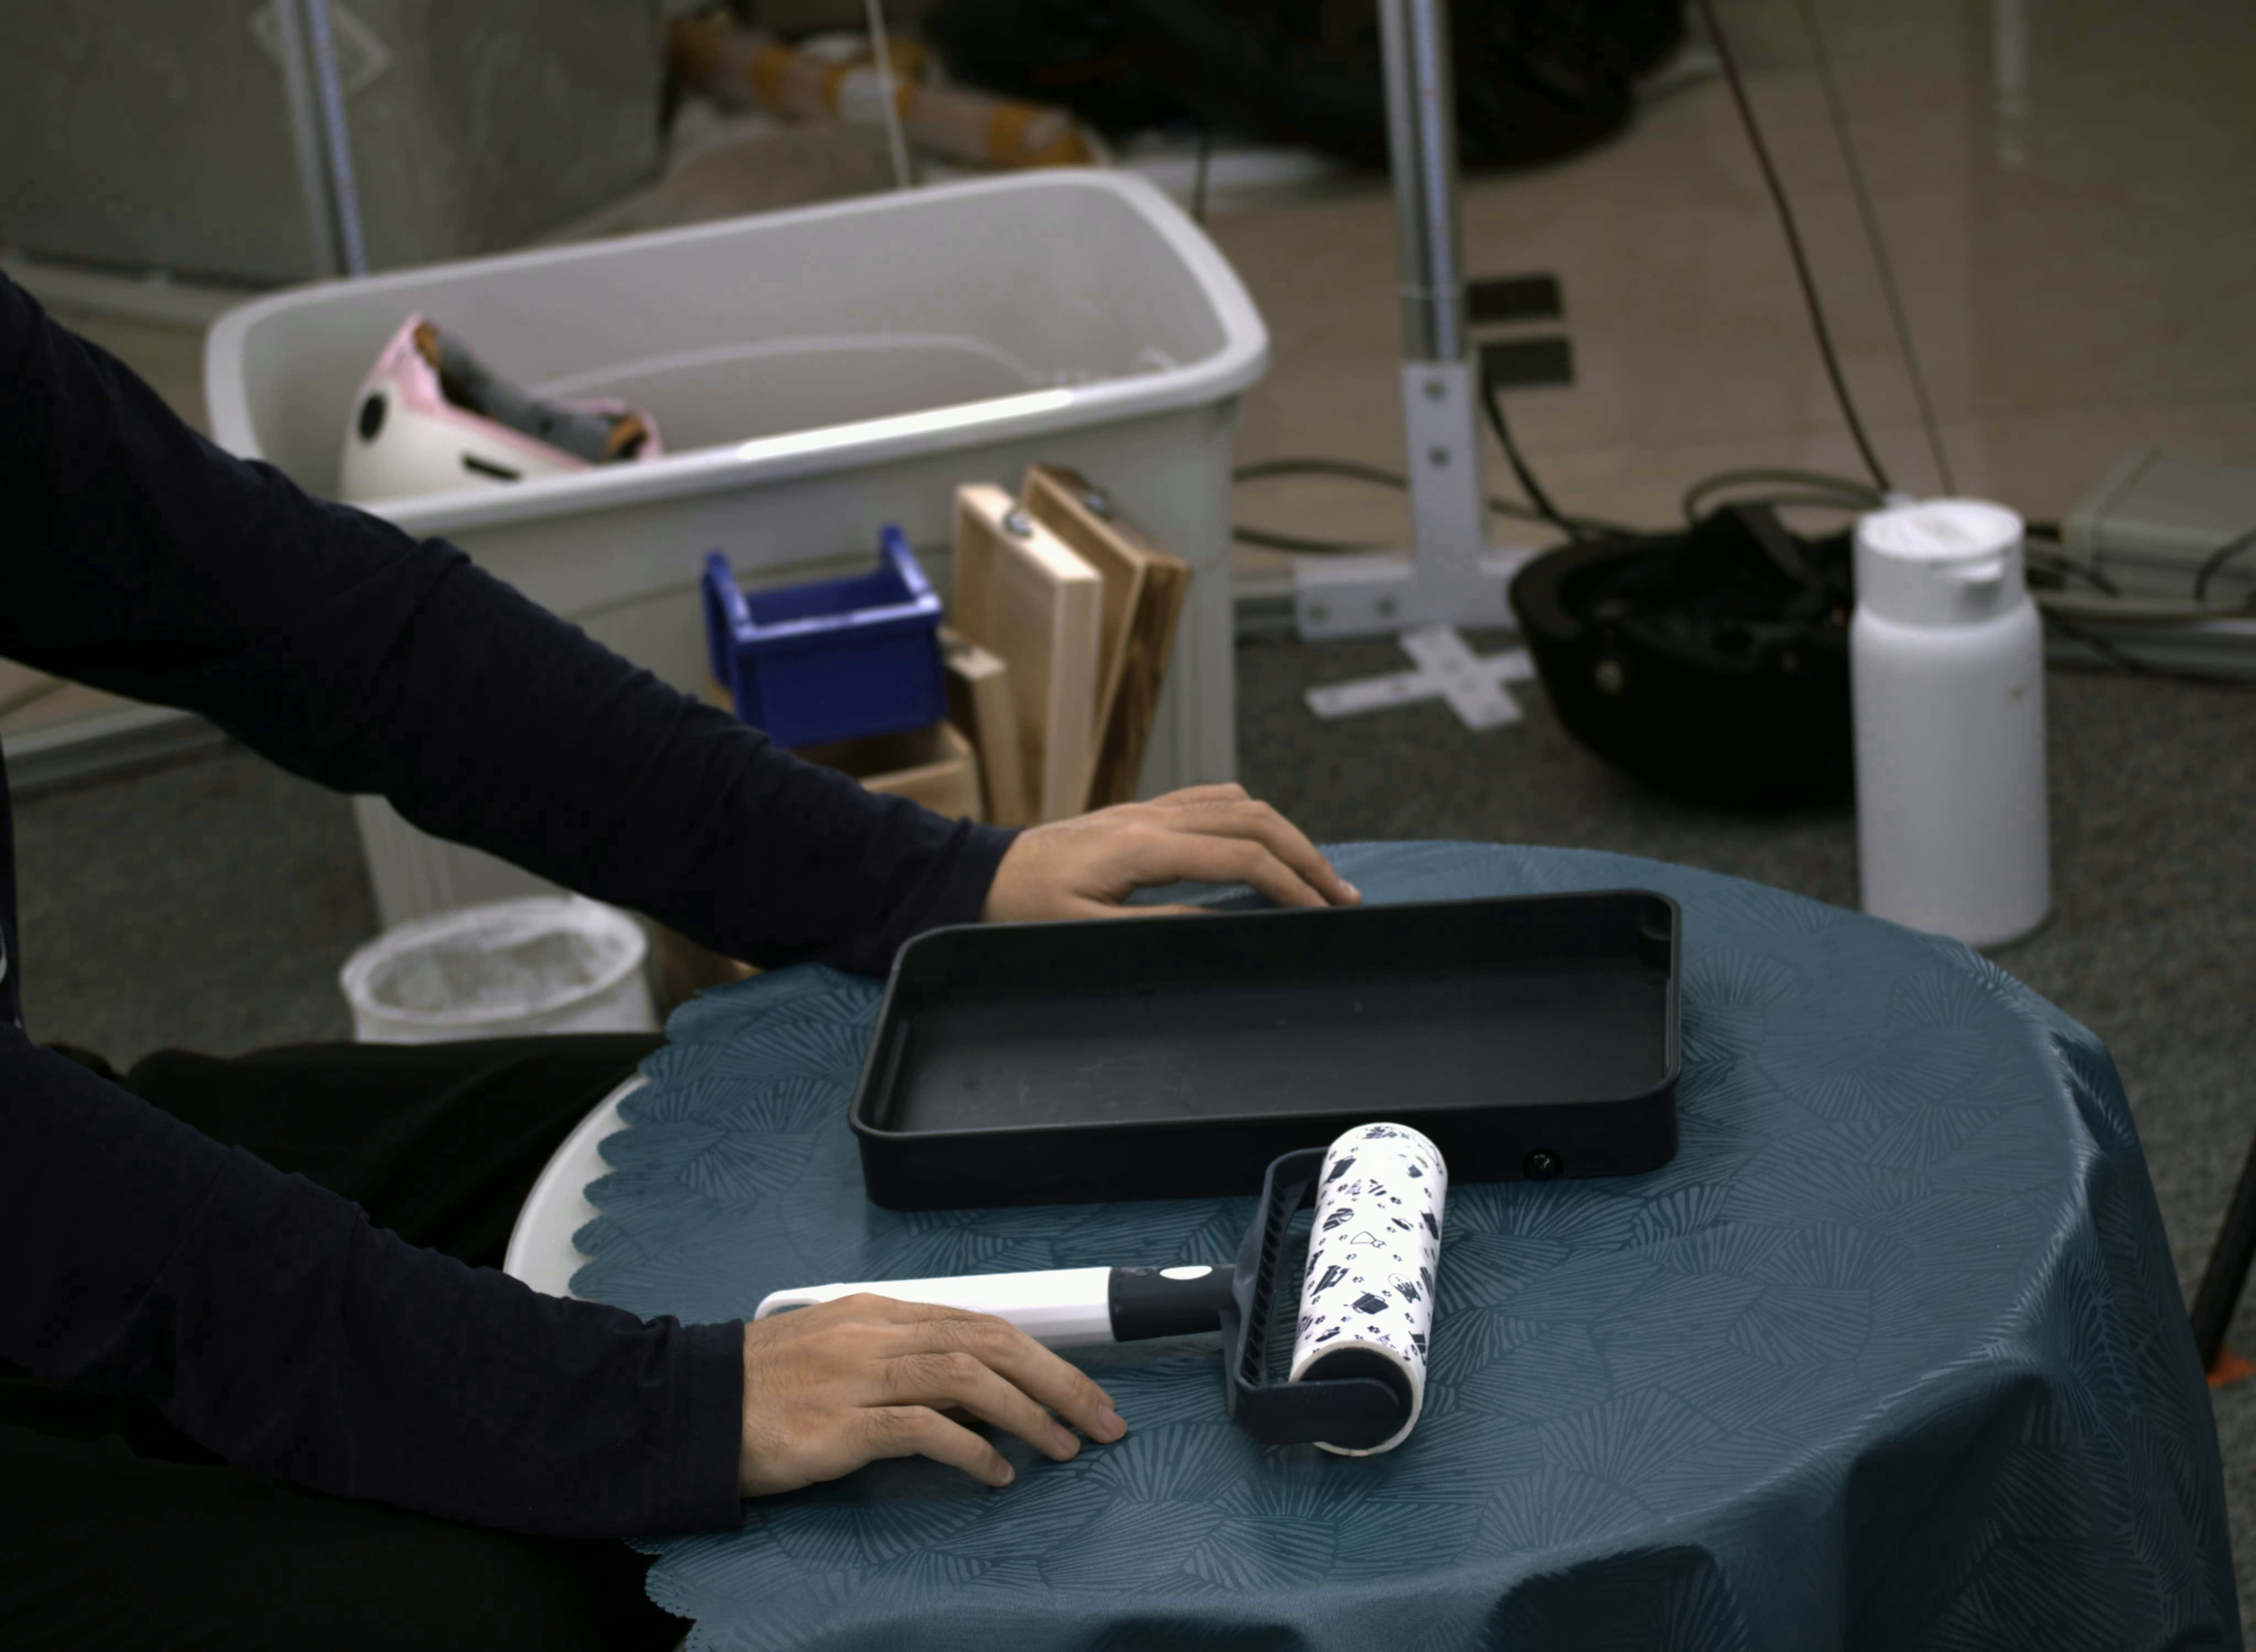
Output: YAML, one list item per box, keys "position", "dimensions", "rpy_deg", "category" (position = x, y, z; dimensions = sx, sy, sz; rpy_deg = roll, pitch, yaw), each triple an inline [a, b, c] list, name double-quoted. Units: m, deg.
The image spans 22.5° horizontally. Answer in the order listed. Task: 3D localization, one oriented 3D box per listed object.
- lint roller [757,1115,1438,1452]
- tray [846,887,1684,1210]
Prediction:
- position: [-0.014, 0.173, 2.035]
  dimensions: [0.247, 0.051, 0.173]
  rpy_deg: [-6, 26, 9]
  category: "lint roller"
- position: [0.058, 0.085, 2.210]
  dimensions: [0.317, 0.037, 0.181]
  rpy_deg: [-3, 25, 8]
  category: "tray"
